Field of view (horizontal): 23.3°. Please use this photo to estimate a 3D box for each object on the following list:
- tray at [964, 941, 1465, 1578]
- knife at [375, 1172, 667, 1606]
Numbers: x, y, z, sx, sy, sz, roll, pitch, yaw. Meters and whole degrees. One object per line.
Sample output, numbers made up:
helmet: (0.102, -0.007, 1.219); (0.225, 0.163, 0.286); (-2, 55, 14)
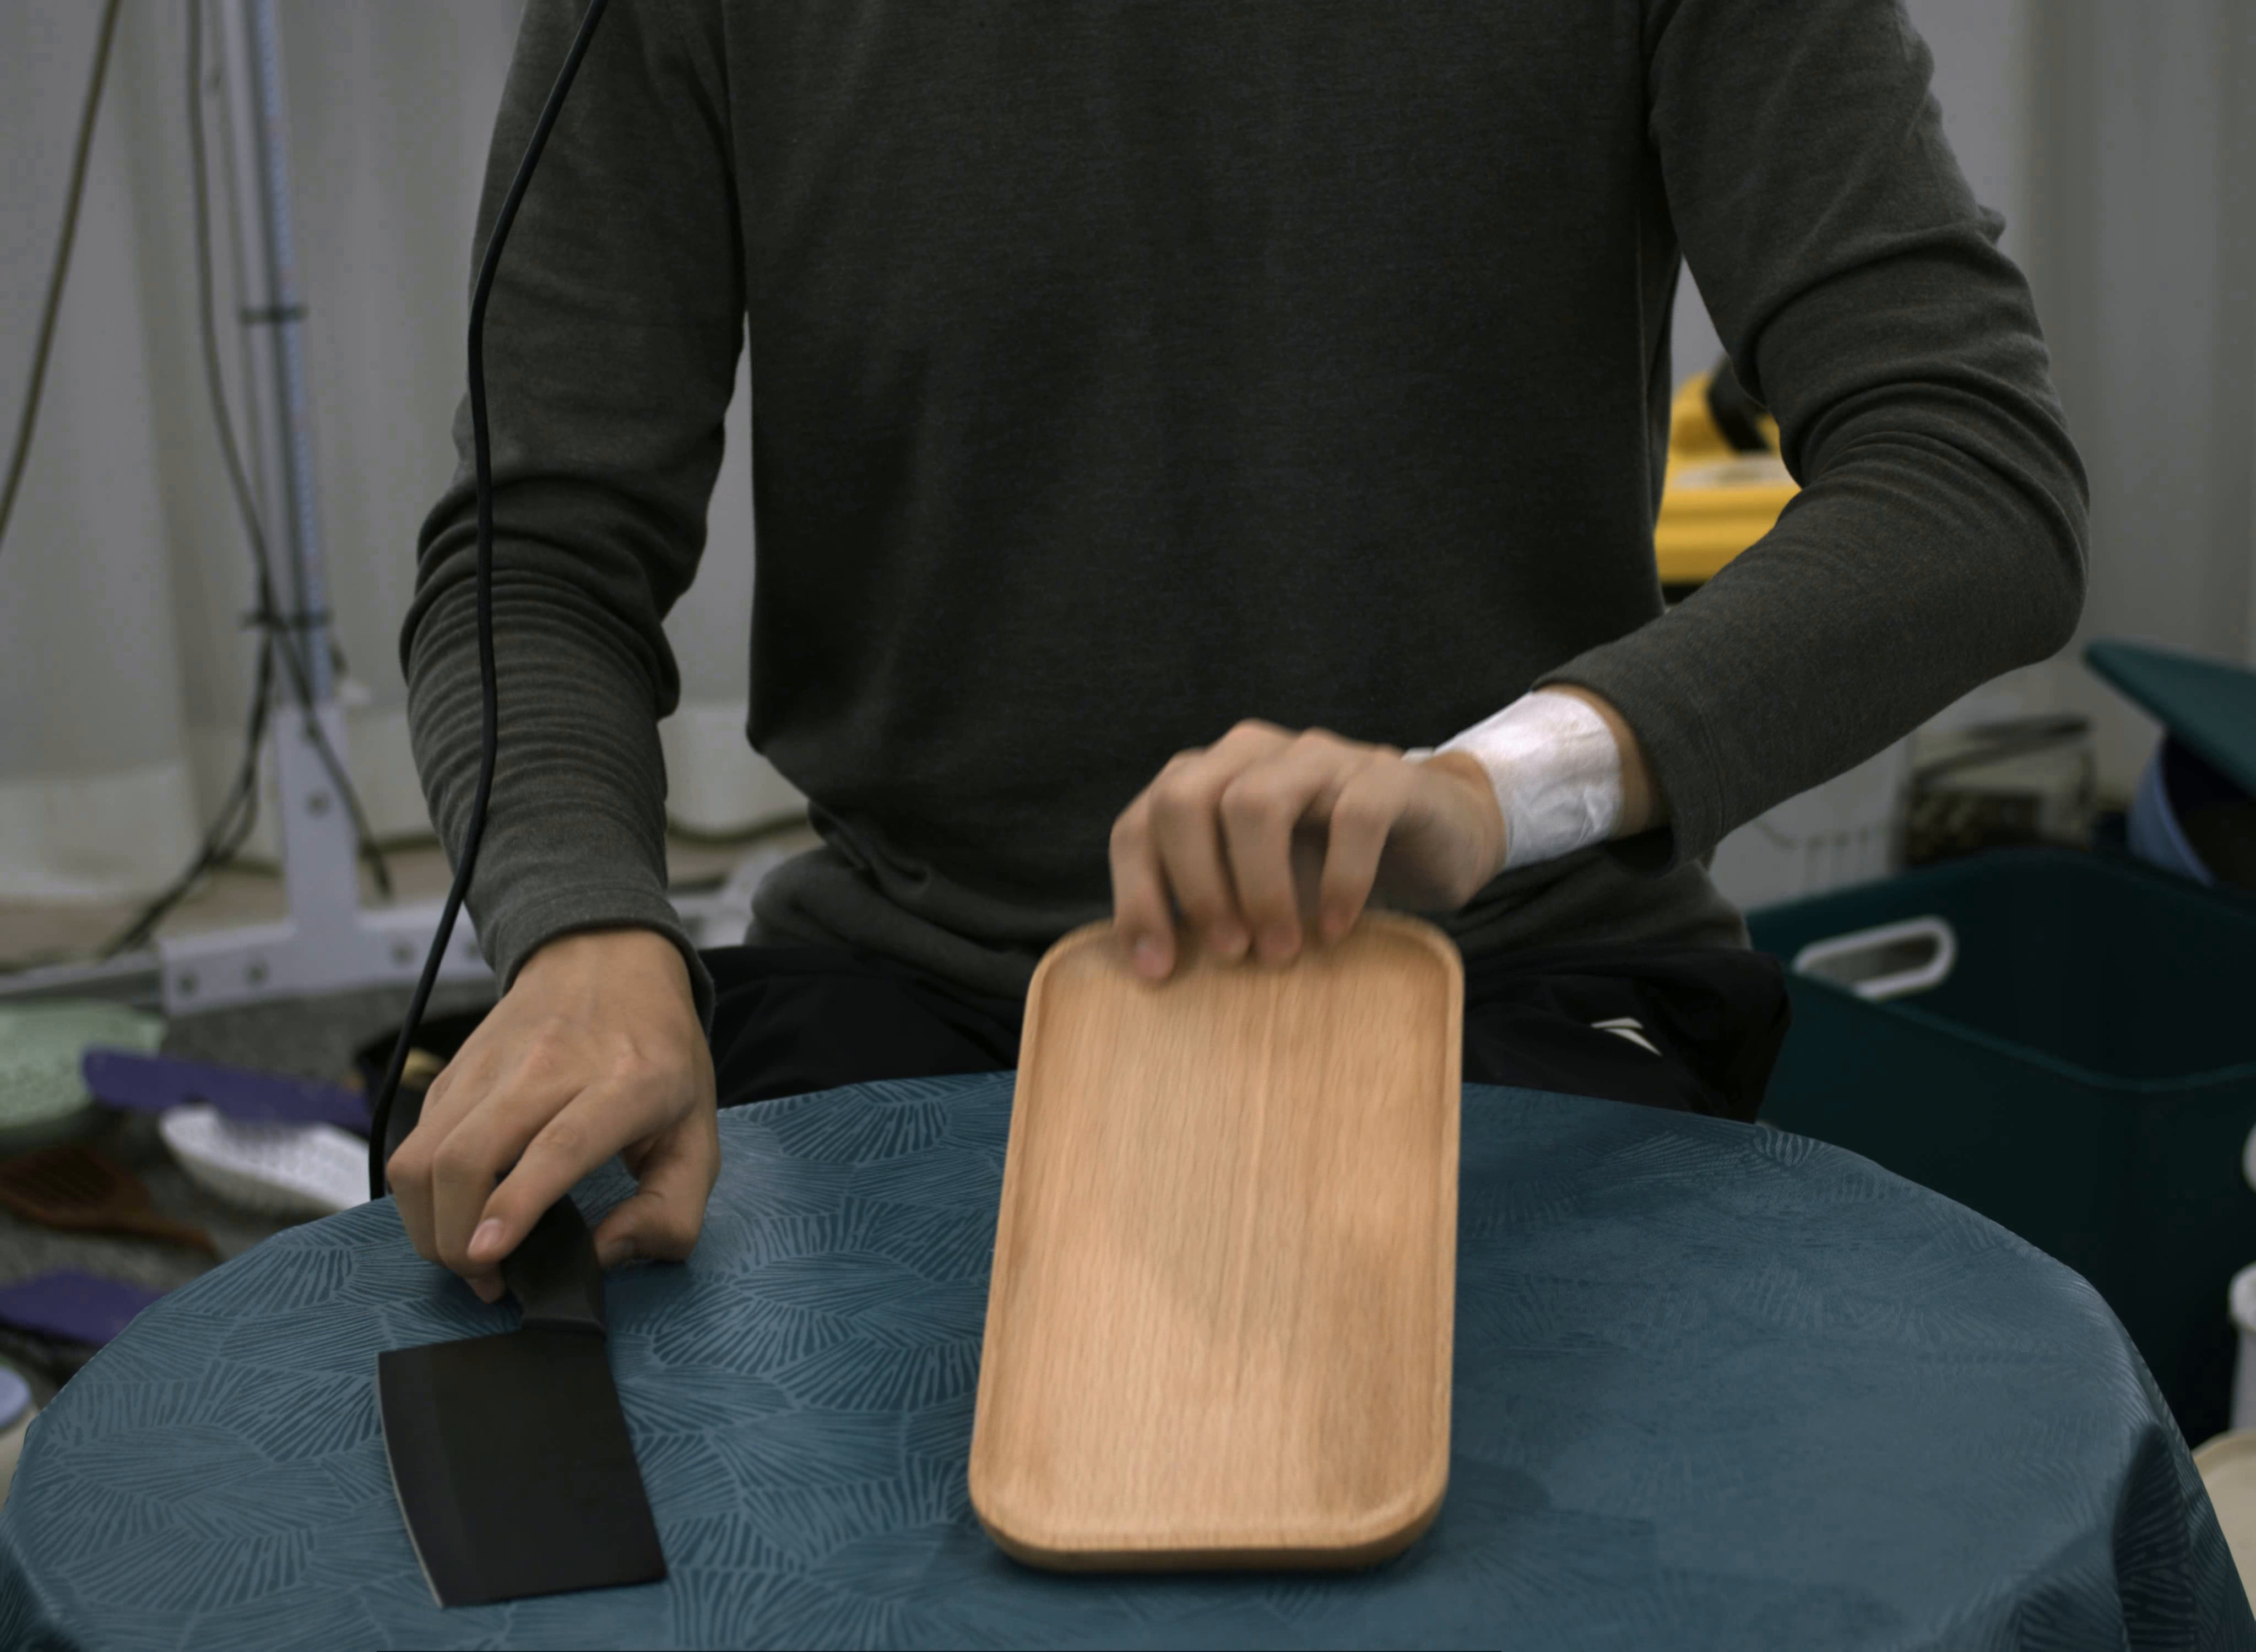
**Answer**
tray: (0.027, 0.115, 1.503); (0.130, 0.022, 0.254); (1, 36, 5)
knife: (-0.175, 0.158, 1.559); (0.080, 0.021, 0.305); (-6, 17, -5)
